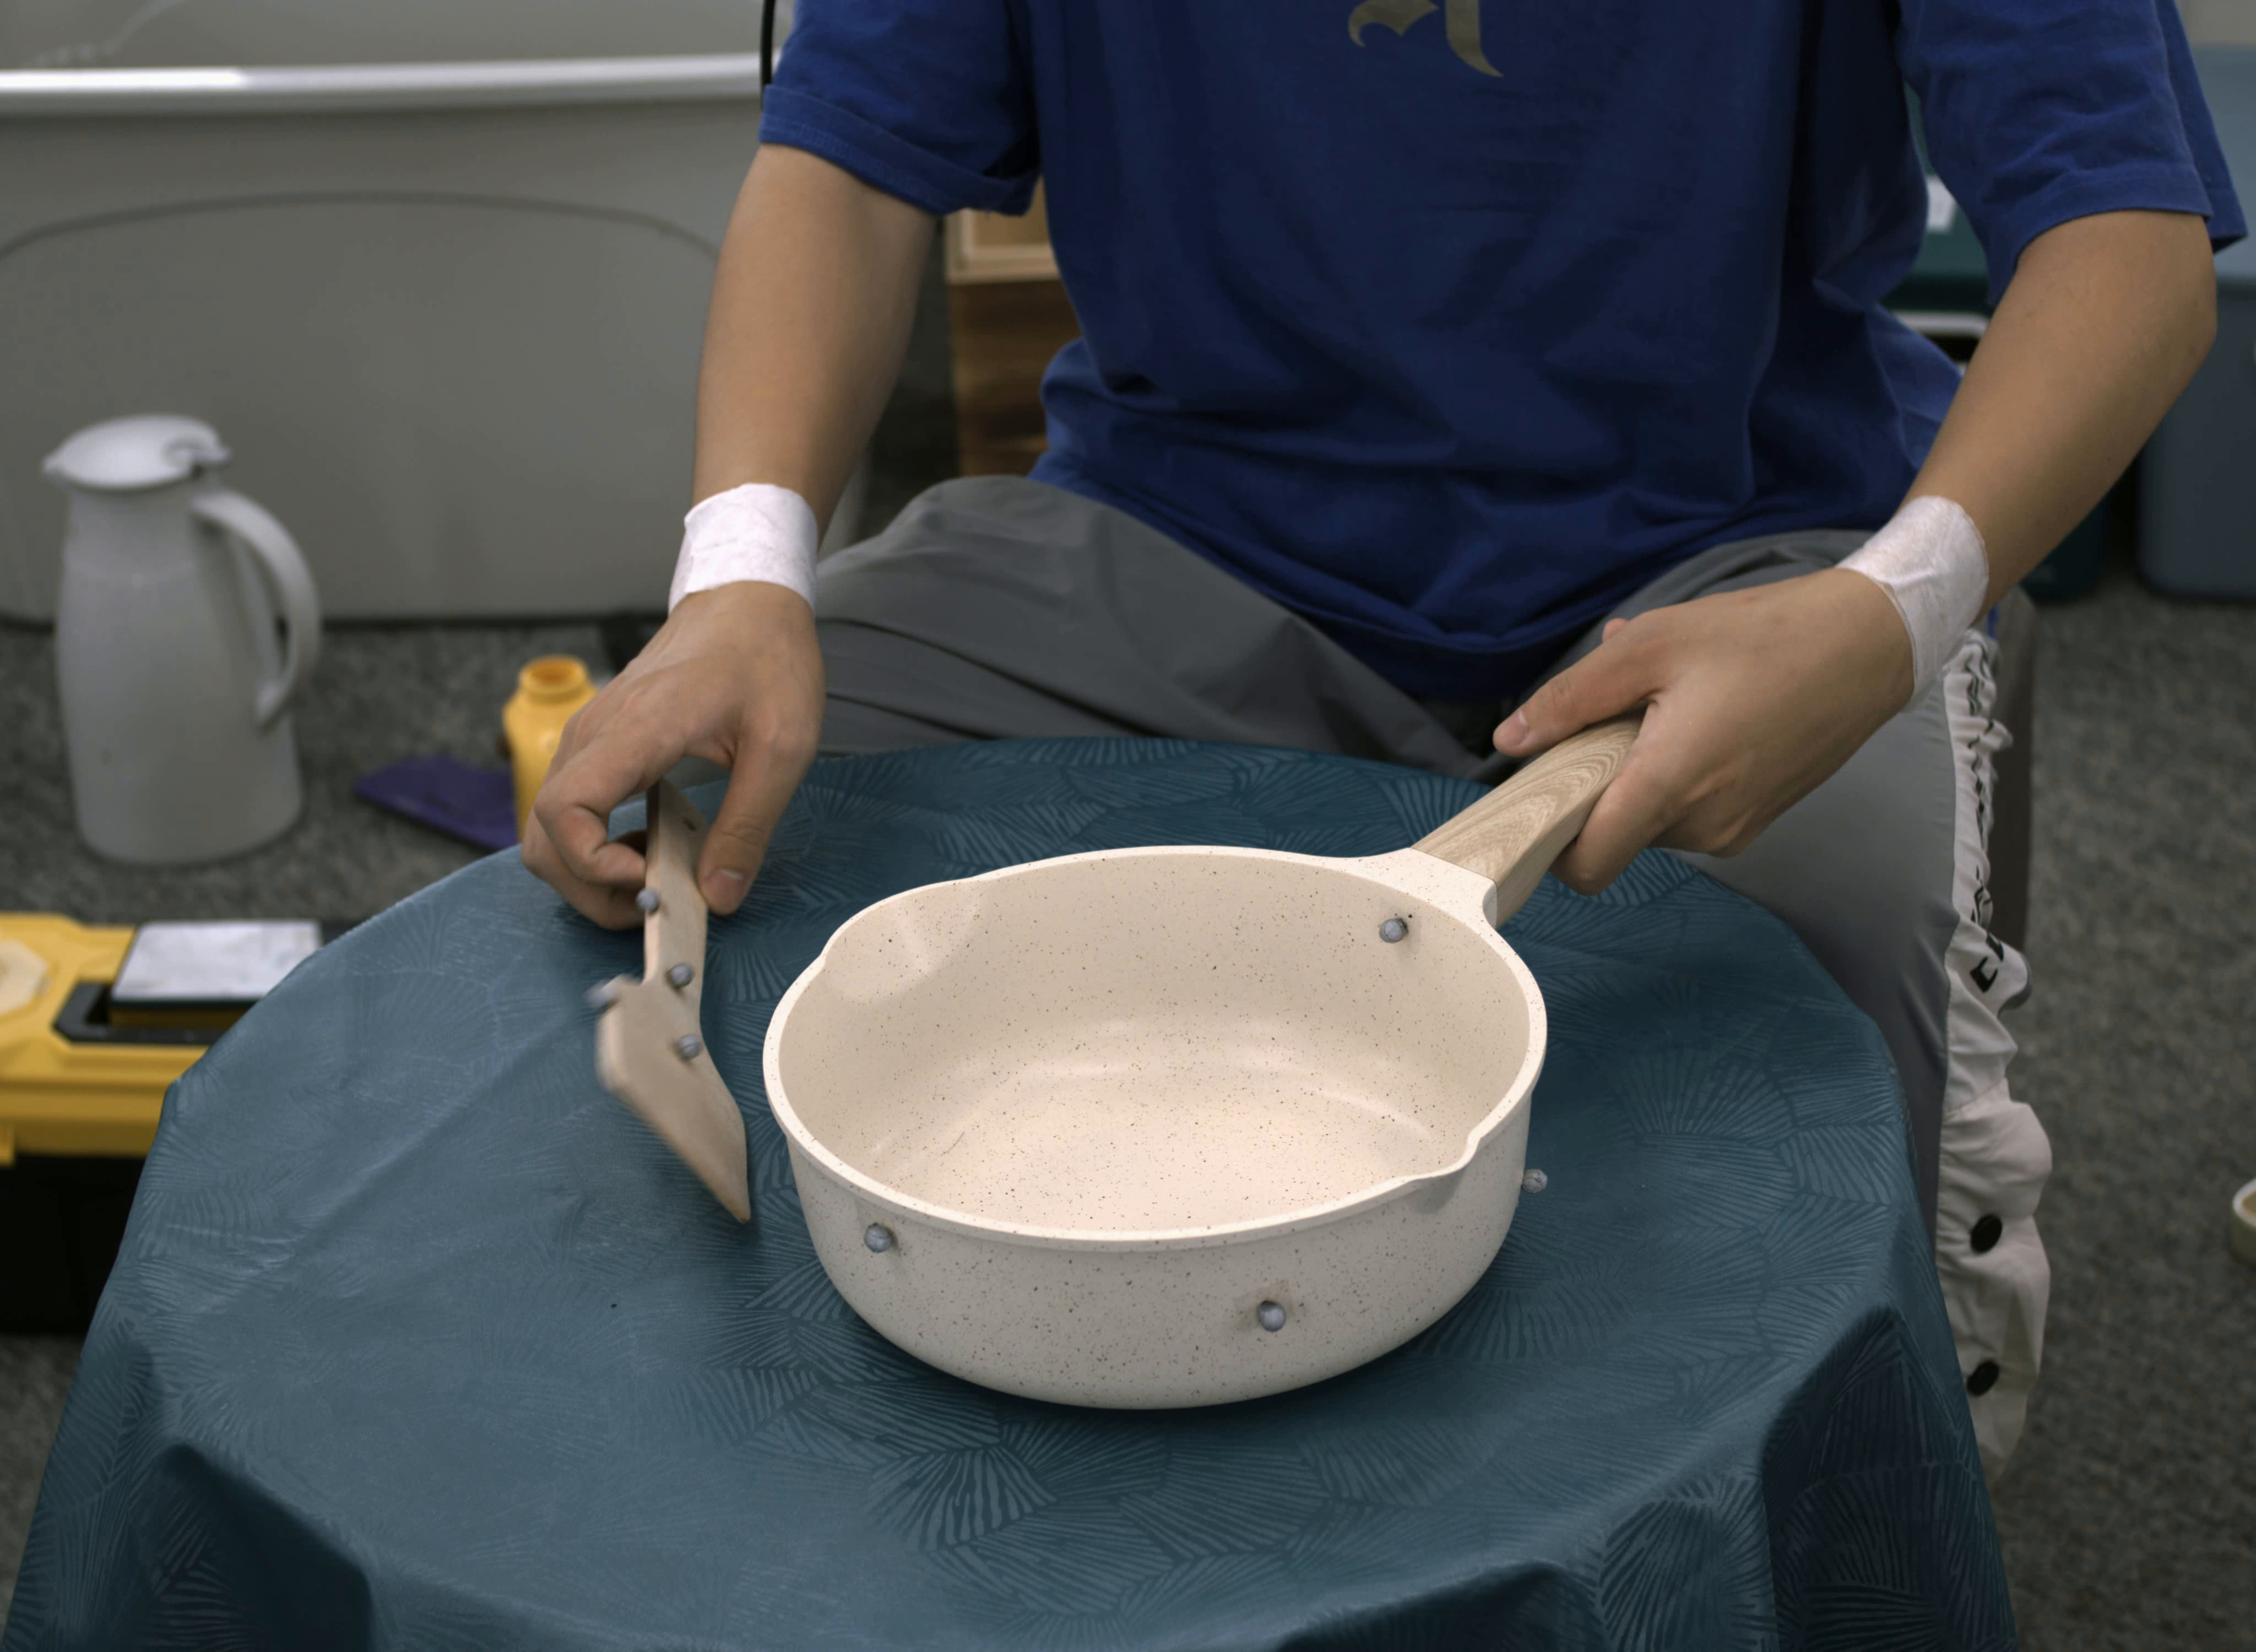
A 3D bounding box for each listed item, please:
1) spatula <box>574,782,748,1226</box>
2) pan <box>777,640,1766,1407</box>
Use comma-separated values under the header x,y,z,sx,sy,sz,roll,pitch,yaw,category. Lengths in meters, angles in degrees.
x,y,z,sx,sy,sz,roll,pitch,yaw,category
-0.158,0.051,1.965,0.072,0.010,0.297,39,18,-18,spatula
0.077,0.060,1.865,0.262,0.101,0.440,19,34,39,pan
